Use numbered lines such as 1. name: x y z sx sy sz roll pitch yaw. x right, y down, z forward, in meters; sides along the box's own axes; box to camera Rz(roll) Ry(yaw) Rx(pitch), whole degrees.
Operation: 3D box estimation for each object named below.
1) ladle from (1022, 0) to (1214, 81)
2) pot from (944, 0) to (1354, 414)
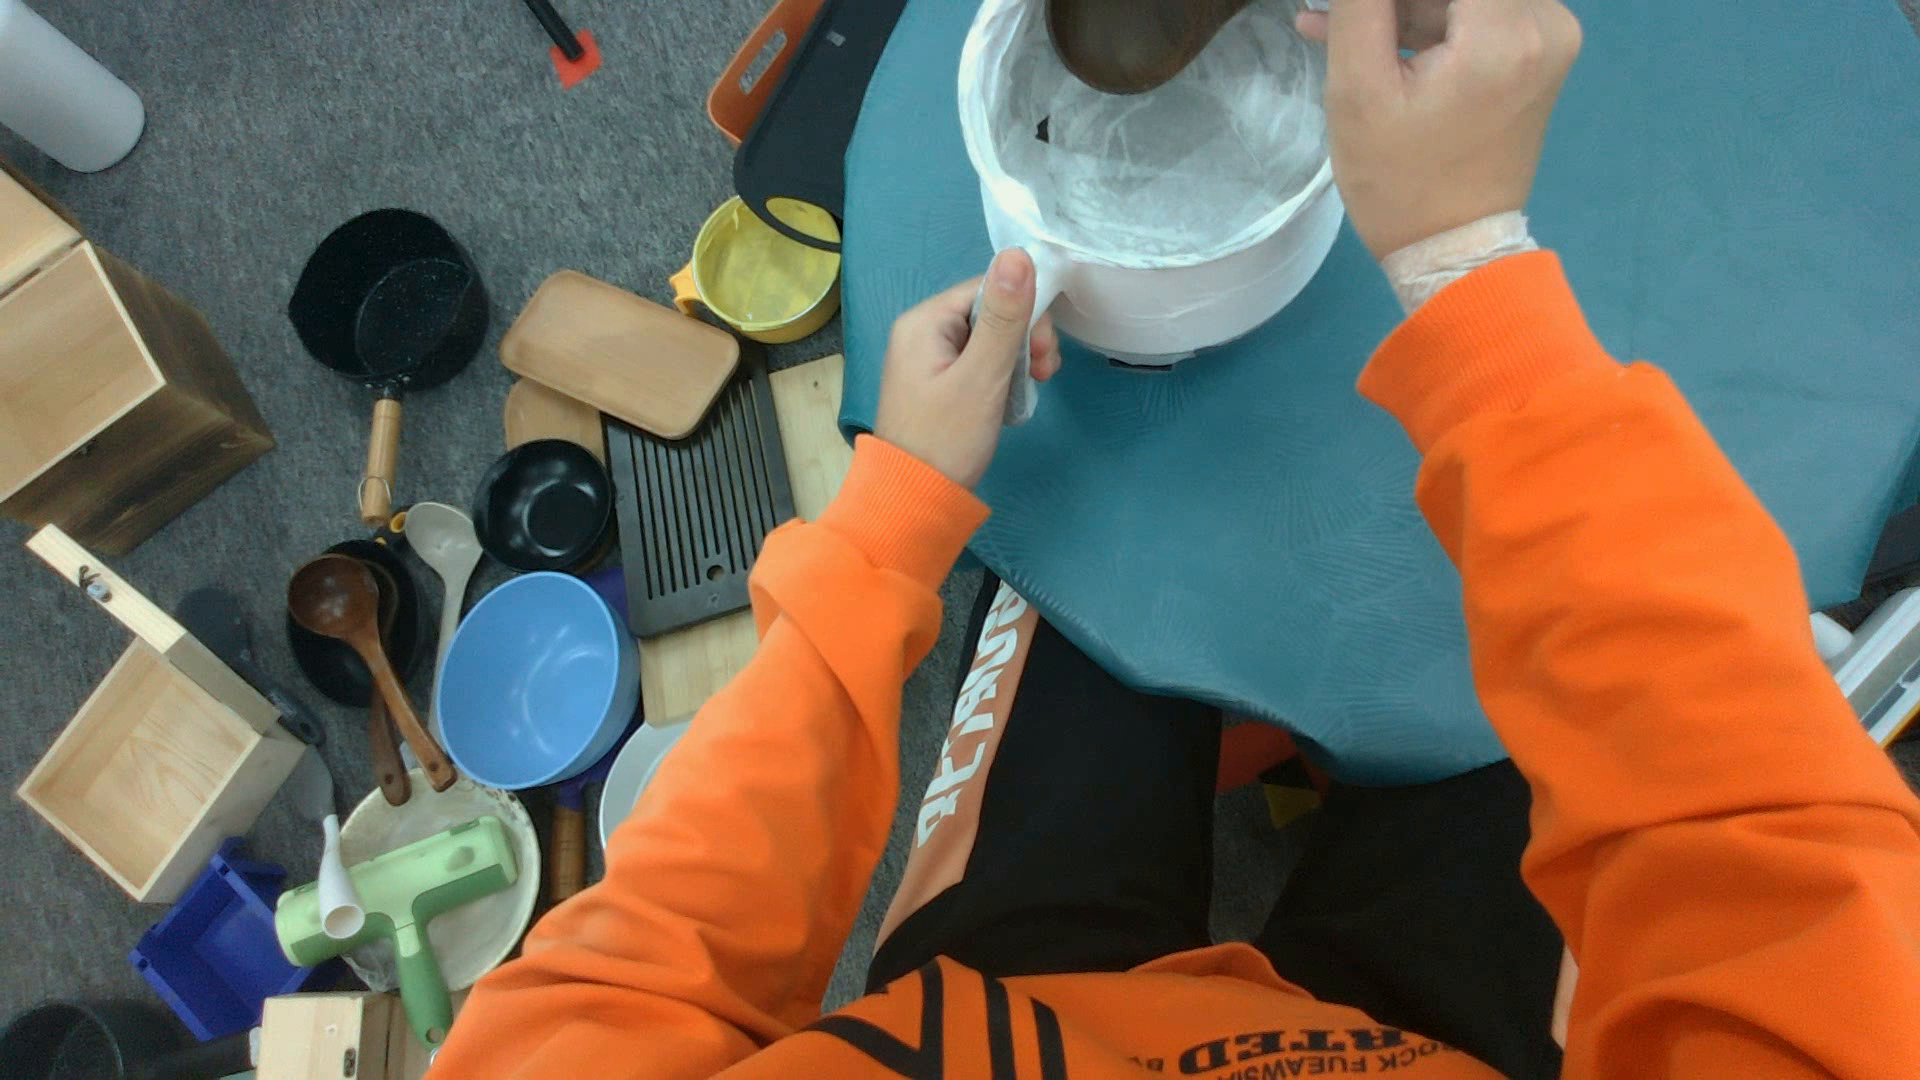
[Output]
1. ladle: 0.108 -0.219 0.515 0.071 0.274 0.076 -21 111 -16
2. pot: 0.073 -0.169 0.652 0.179 0.136 0.234 34 83 15
